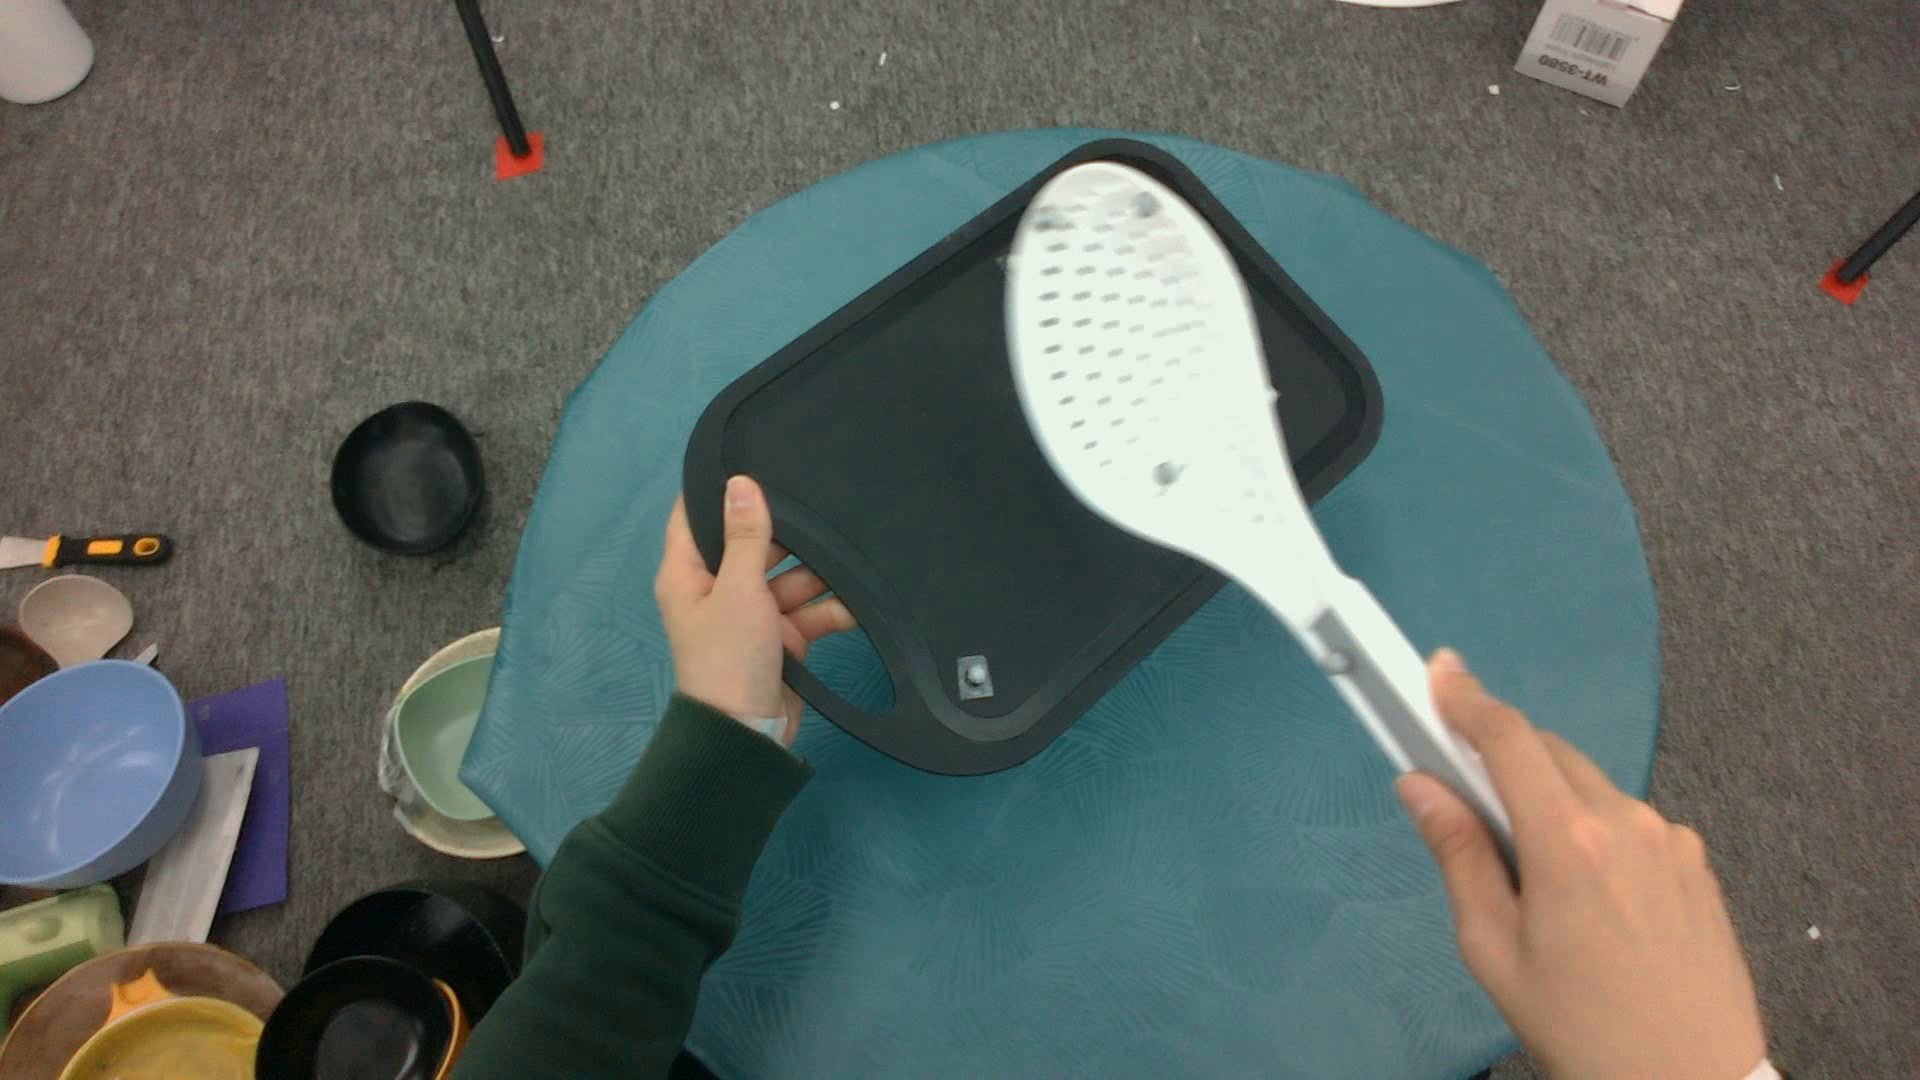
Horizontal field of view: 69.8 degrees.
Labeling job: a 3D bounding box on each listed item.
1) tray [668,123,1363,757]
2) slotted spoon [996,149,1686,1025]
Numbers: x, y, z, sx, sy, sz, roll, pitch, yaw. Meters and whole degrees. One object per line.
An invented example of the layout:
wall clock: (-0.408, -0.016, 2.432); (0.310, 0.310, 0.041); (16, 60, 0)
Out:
tray: (0.032, -0.055, 0.624); (0.326, 0.010, 0.211); (-39, 83, -23)
slotted spoon: (0.114, 0.004, 0.470); (0.046, 0.135, 0.350); (-19, 63, -22)
